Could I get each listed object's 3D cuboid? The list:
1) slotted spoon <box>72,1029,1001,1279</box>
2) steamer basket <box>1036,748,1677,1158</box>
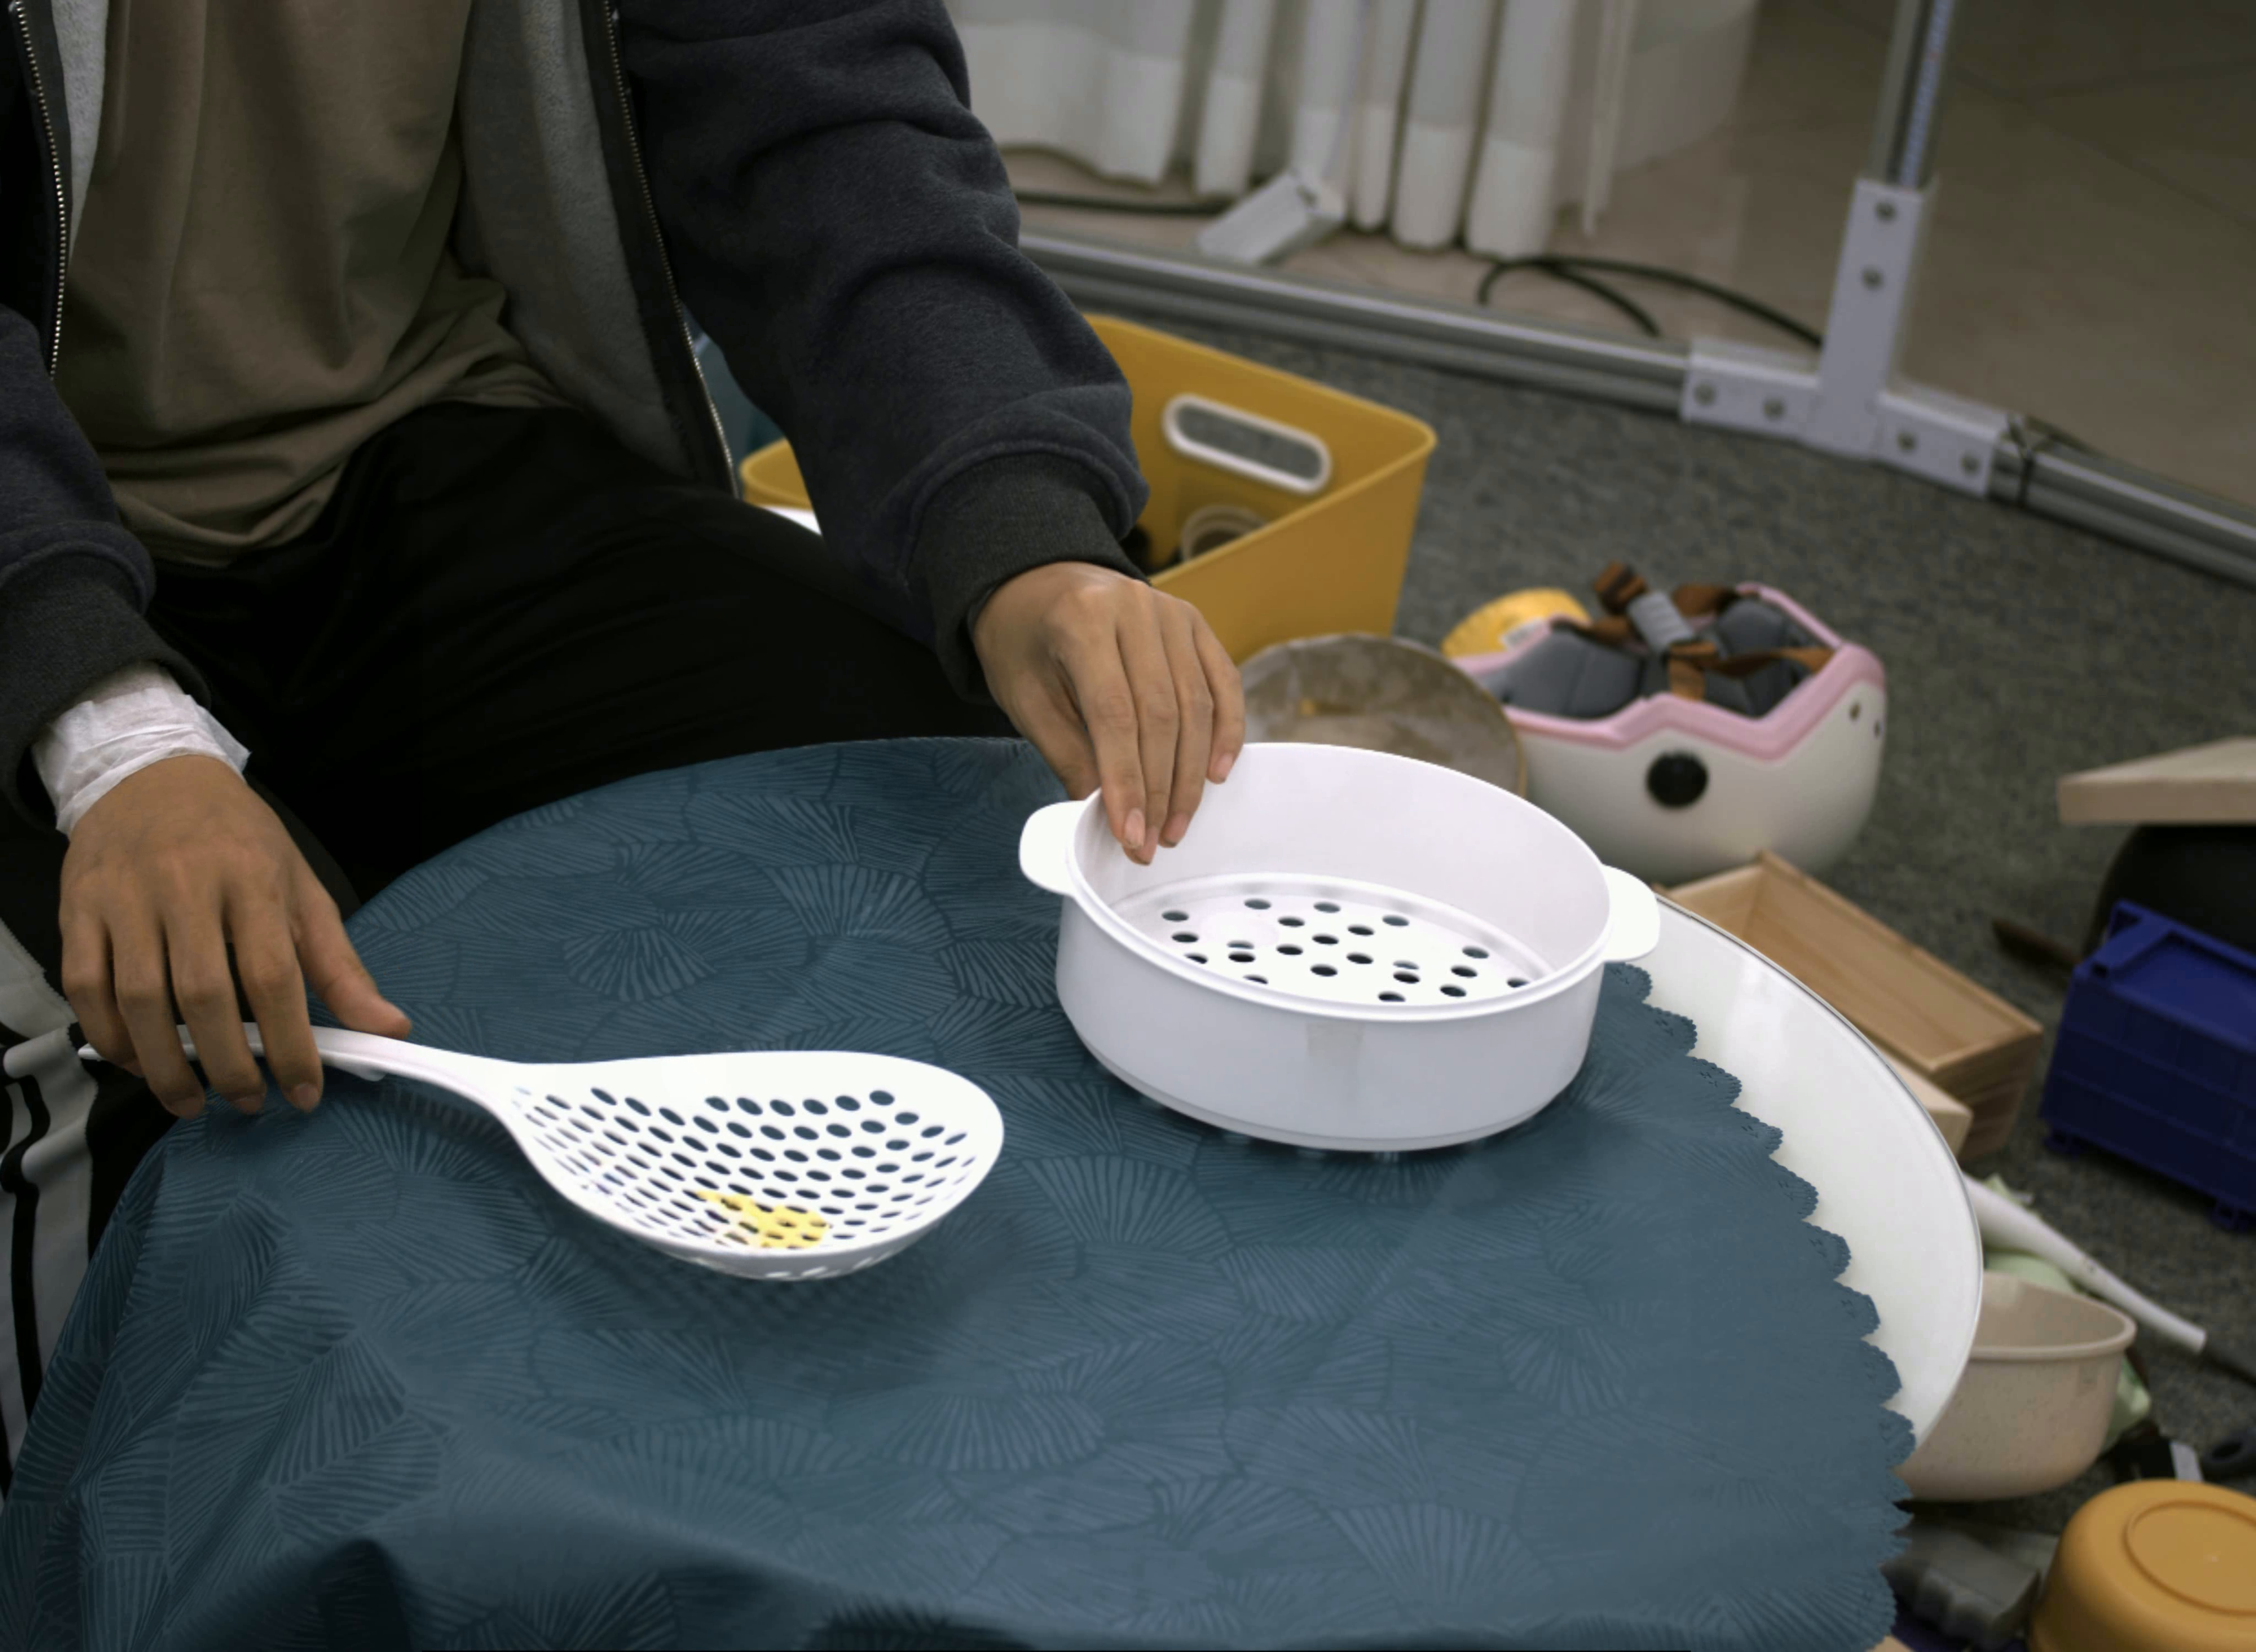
[{"bbox_3d":[-0.207,0.097,1.781,0.349,0.050,0.137,12,32,23],"label":"slotted spoon"},{"bbox_3d":[0.077,0.045,1.900,0.230,0.069,0.203,8,26,0],"label":"steamer basket"}]
